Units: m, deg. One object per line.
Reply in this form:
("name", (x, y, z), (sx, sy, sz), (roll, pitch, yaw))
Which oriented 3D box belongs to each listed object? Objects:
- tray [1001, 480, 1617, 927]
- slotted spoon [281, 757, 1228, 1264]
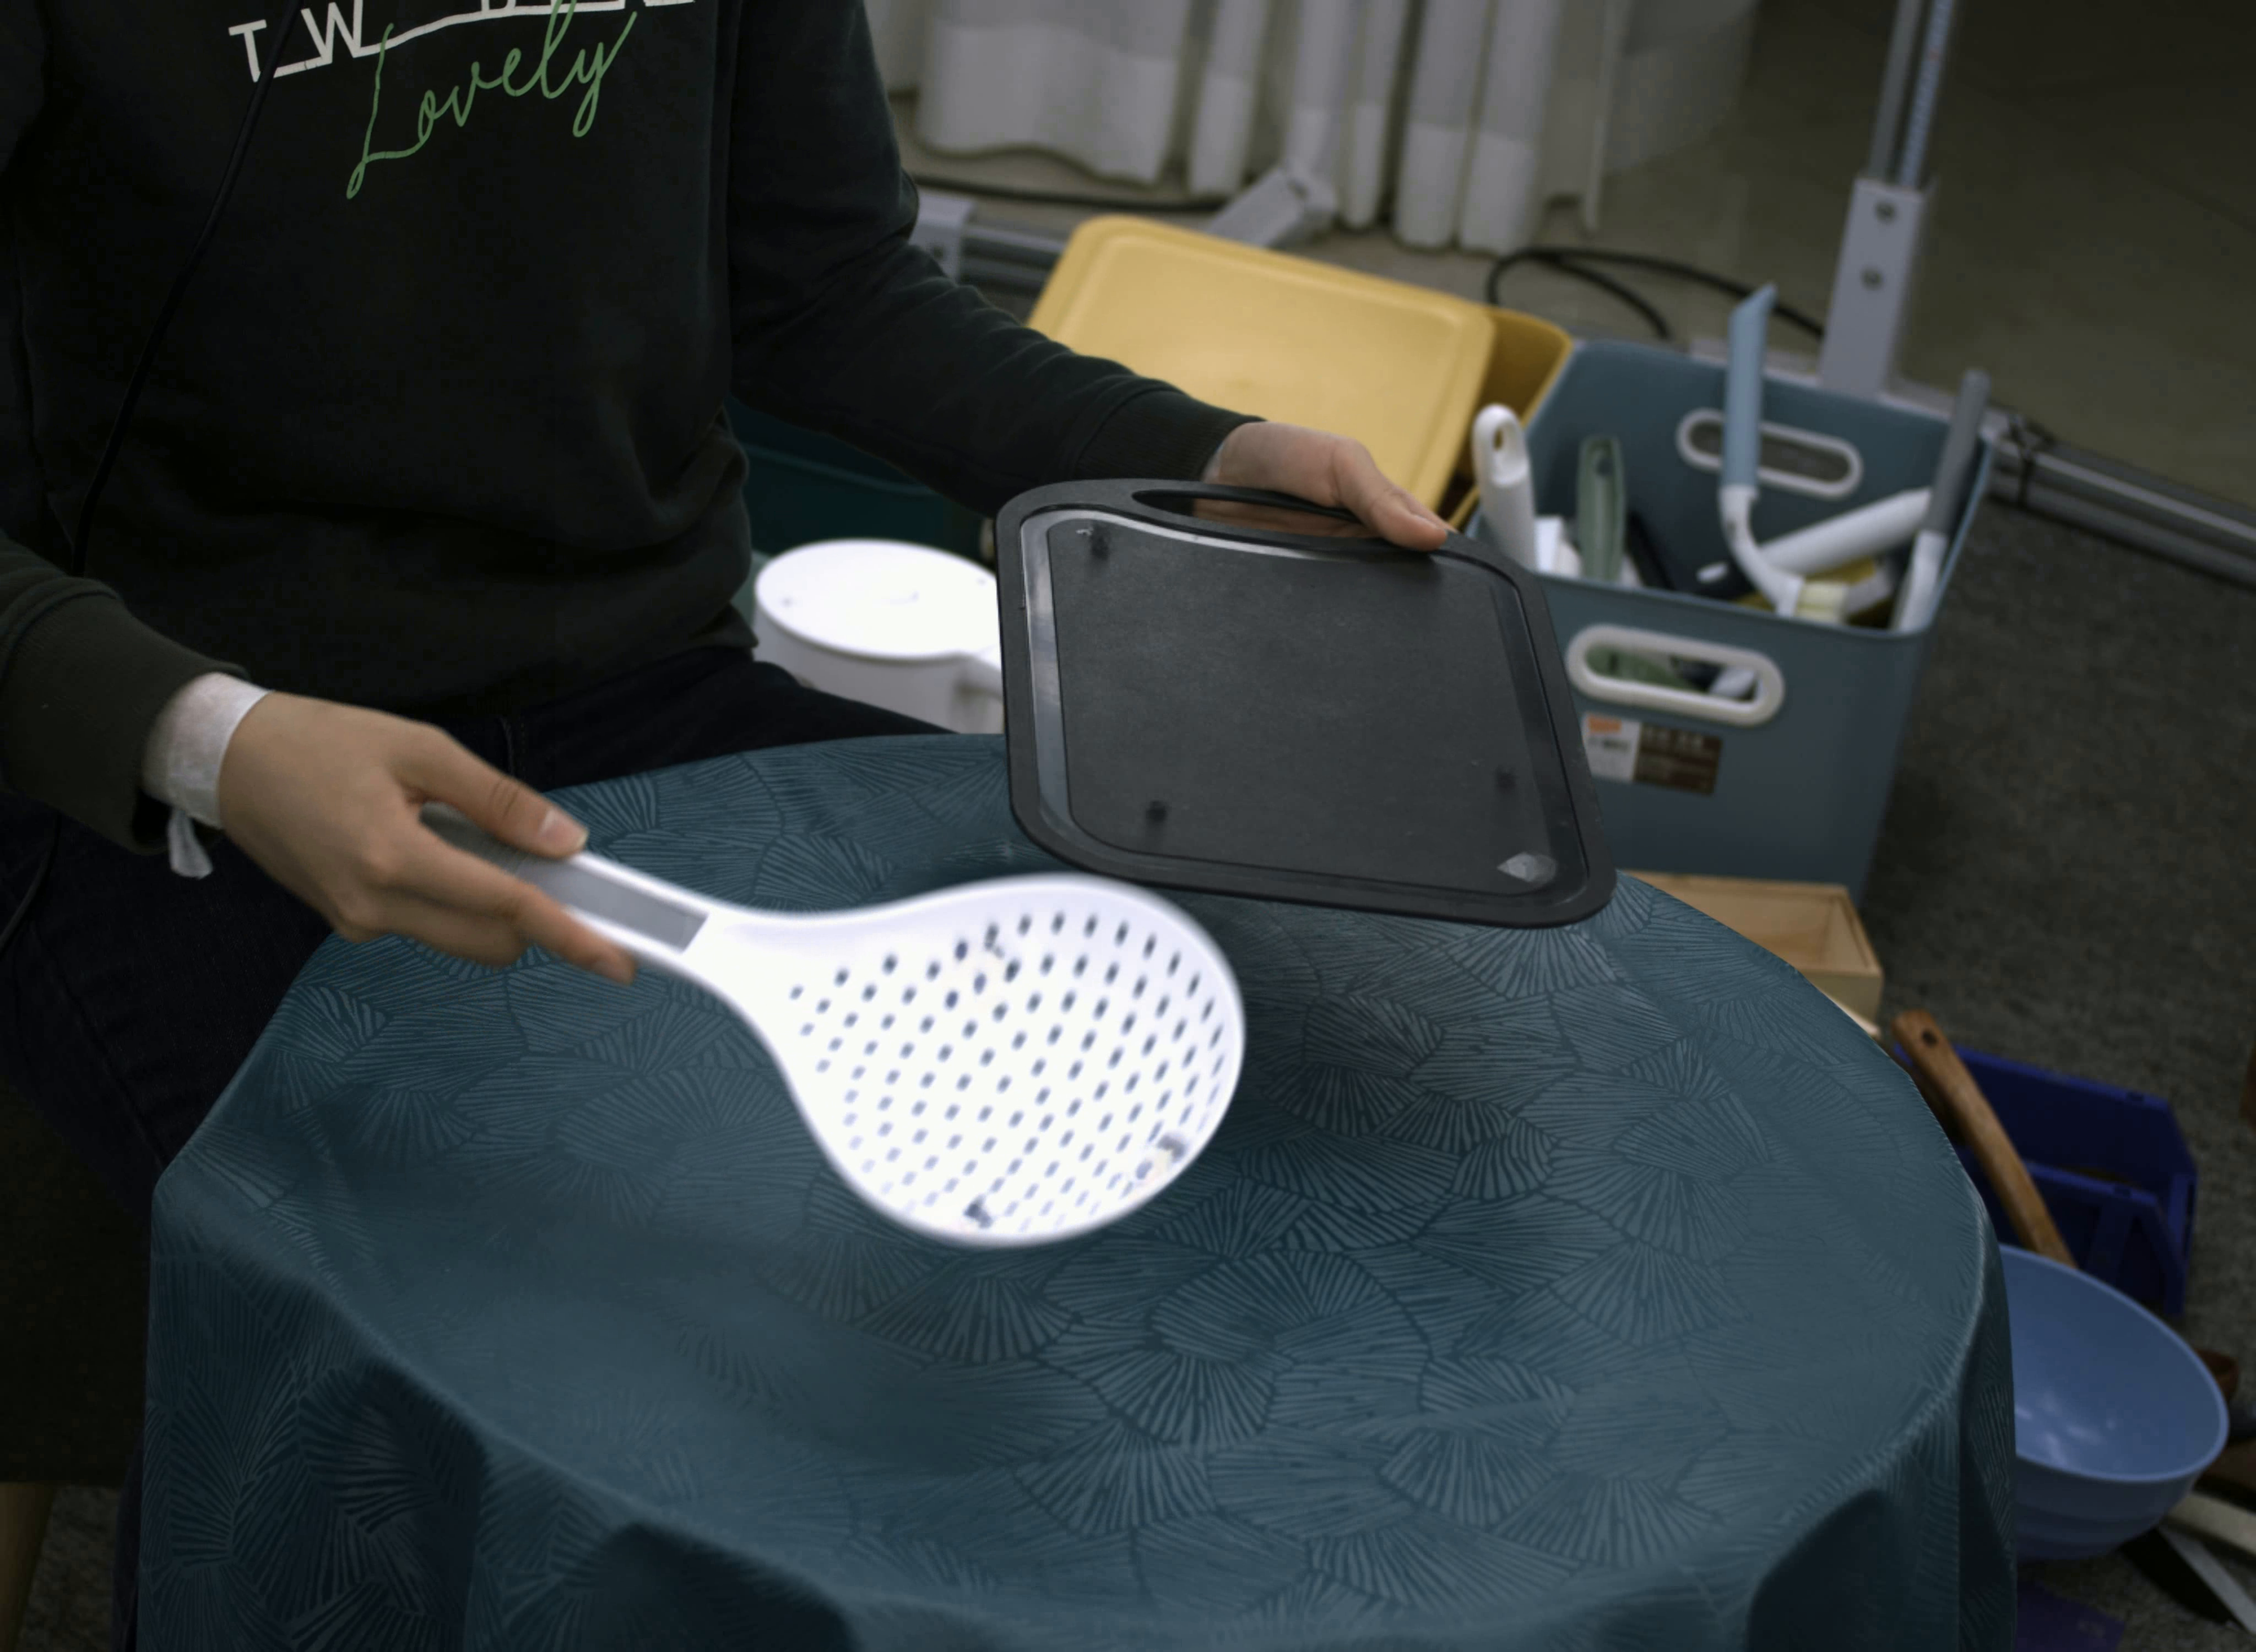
("tray", (0.059, -0.053, 1.903), (0.210, 0.010, 0.327), (7, 28, -5))
("slotted spoon", (-0.127, 0.047, 1.702), (0.351, 0.045, 0.136), (24, 59, 20))
